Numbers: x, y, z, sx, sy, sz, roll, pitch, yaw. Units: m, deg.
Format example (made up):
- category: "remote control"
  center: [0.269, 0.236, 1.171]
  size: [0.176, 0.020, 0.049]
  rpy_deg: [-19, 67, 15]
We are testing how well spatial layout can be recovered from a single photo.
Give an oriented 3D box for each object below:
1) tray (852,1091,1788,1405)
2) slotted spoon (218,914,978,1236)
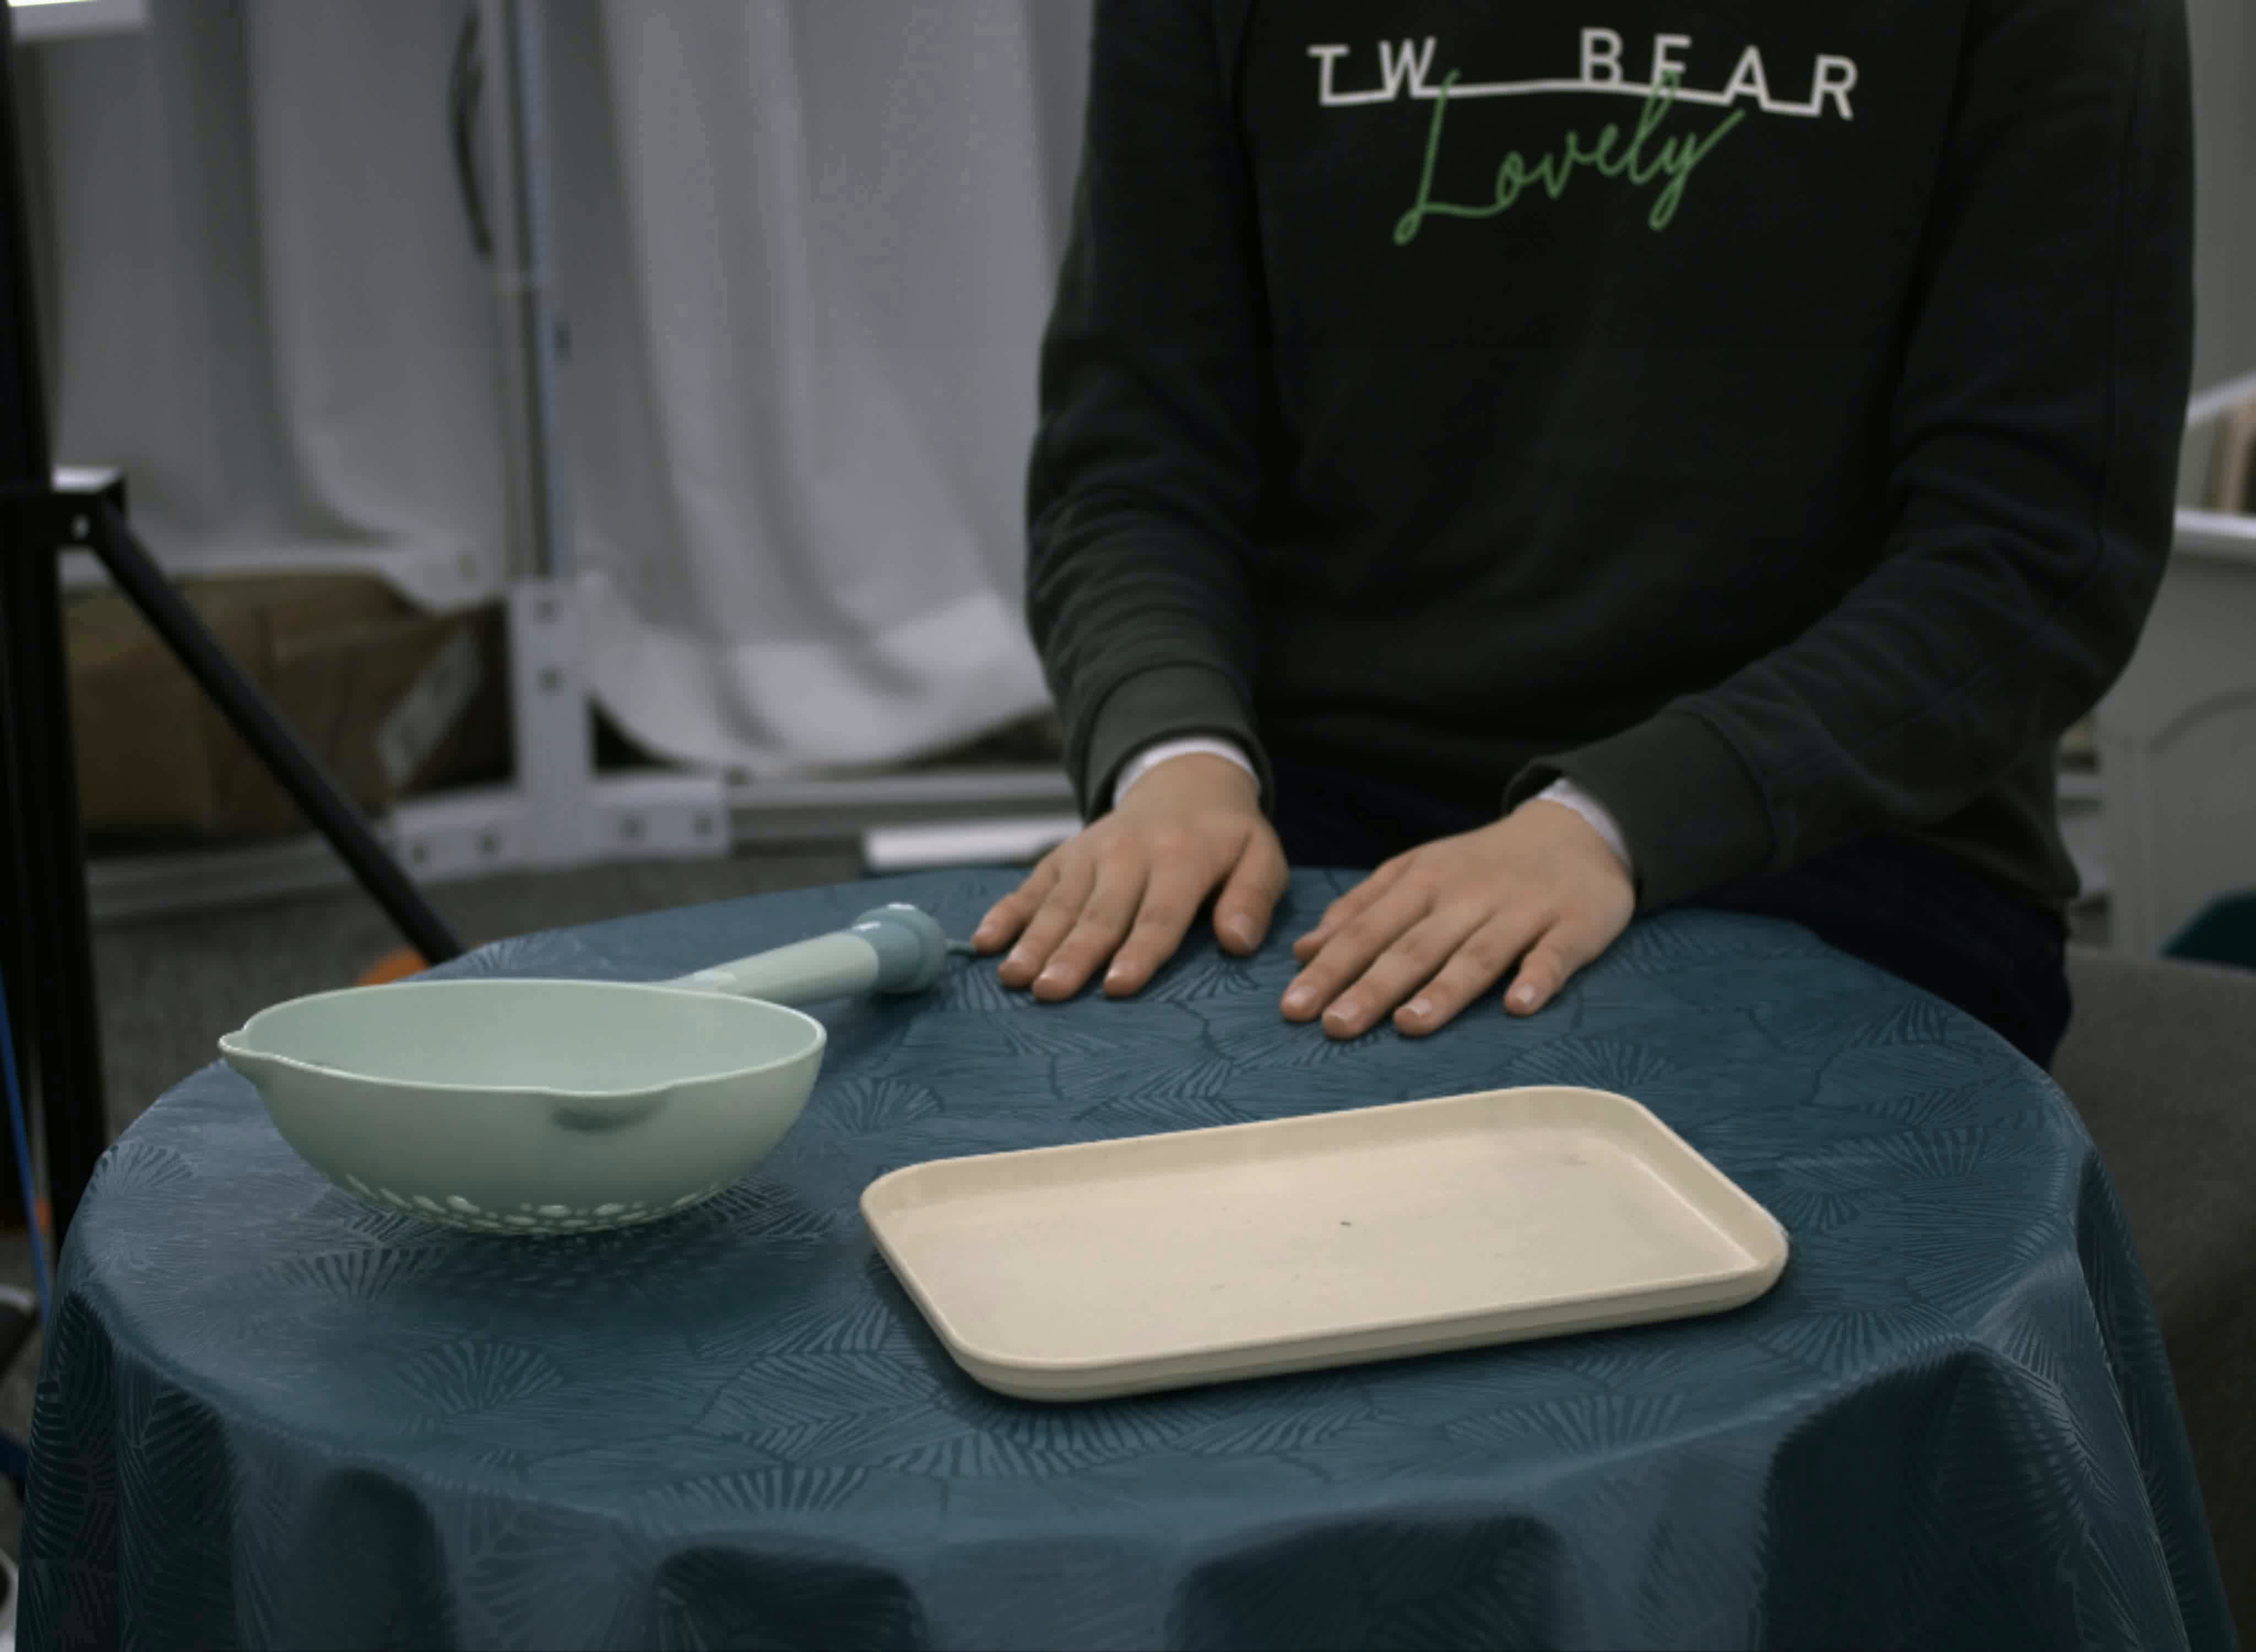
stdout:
- category: "tray"
  center: [0.052, 0.118, 1.485]
  size: [0.236, 0.017, 0.174]
  rpy_deg: [-6, 16, -13]
- category: "slotted spoon"
  center: [-0.131, 0.060, 1.633]
  size: [0.172, 0.075, 0.353]
  rpy_deg: [6, 17, 25]
